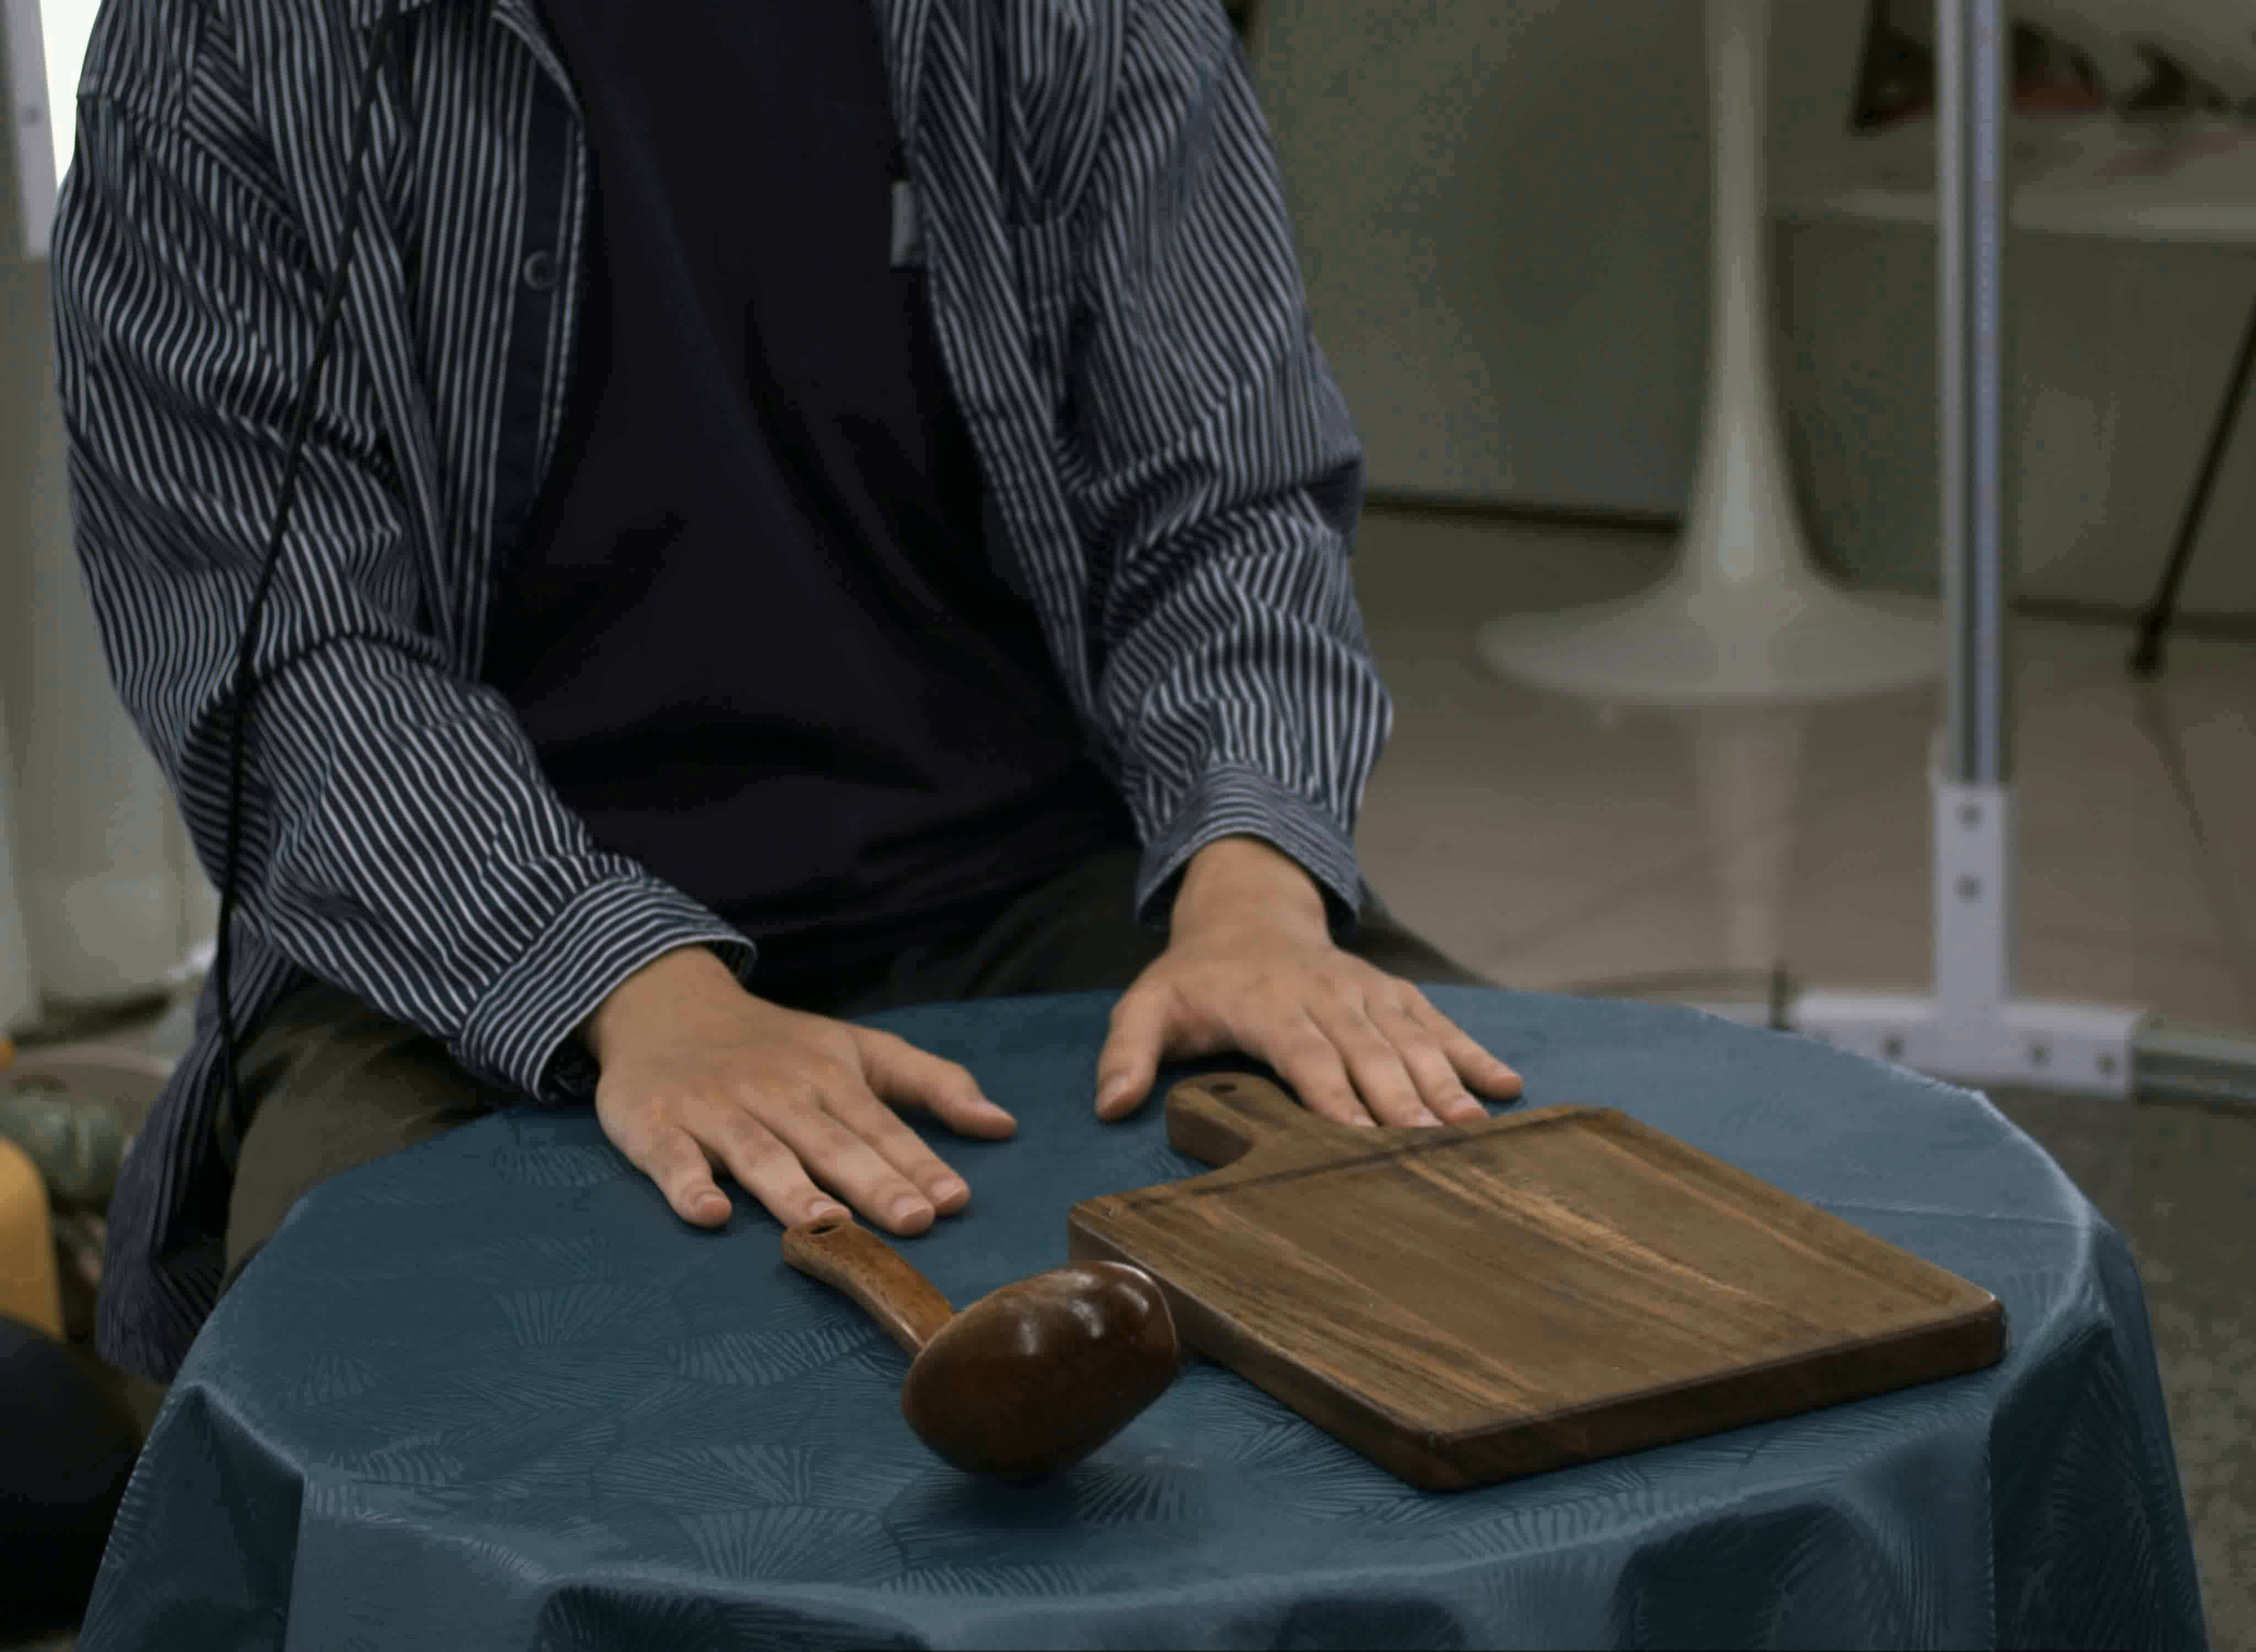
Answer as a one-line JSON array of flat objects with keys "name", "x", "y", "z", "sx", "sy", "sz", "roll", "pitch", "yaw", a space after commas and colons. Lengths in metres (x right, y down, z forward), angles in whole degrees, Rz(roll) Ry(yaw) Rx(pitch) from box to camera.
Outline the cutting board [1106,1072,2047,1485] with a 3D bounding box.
[{"name": "cutting board", "x": 0.110, "y": 0.126, "z": 1.672, "sx": 0.197, "sy": 0.023, "sz": 0.355, "roll": -10, "pitch": 14, "yaw": -22}]

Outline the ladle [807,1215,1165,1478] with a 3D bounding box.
[{"name": "ladle", "x": -0.060, "y": 0.129, "z": 1.591, "sx": 0.080, "sy": 0.077, "sz": 0.276, "roll": -12, "pitch": 15, "yaw": -15}]
